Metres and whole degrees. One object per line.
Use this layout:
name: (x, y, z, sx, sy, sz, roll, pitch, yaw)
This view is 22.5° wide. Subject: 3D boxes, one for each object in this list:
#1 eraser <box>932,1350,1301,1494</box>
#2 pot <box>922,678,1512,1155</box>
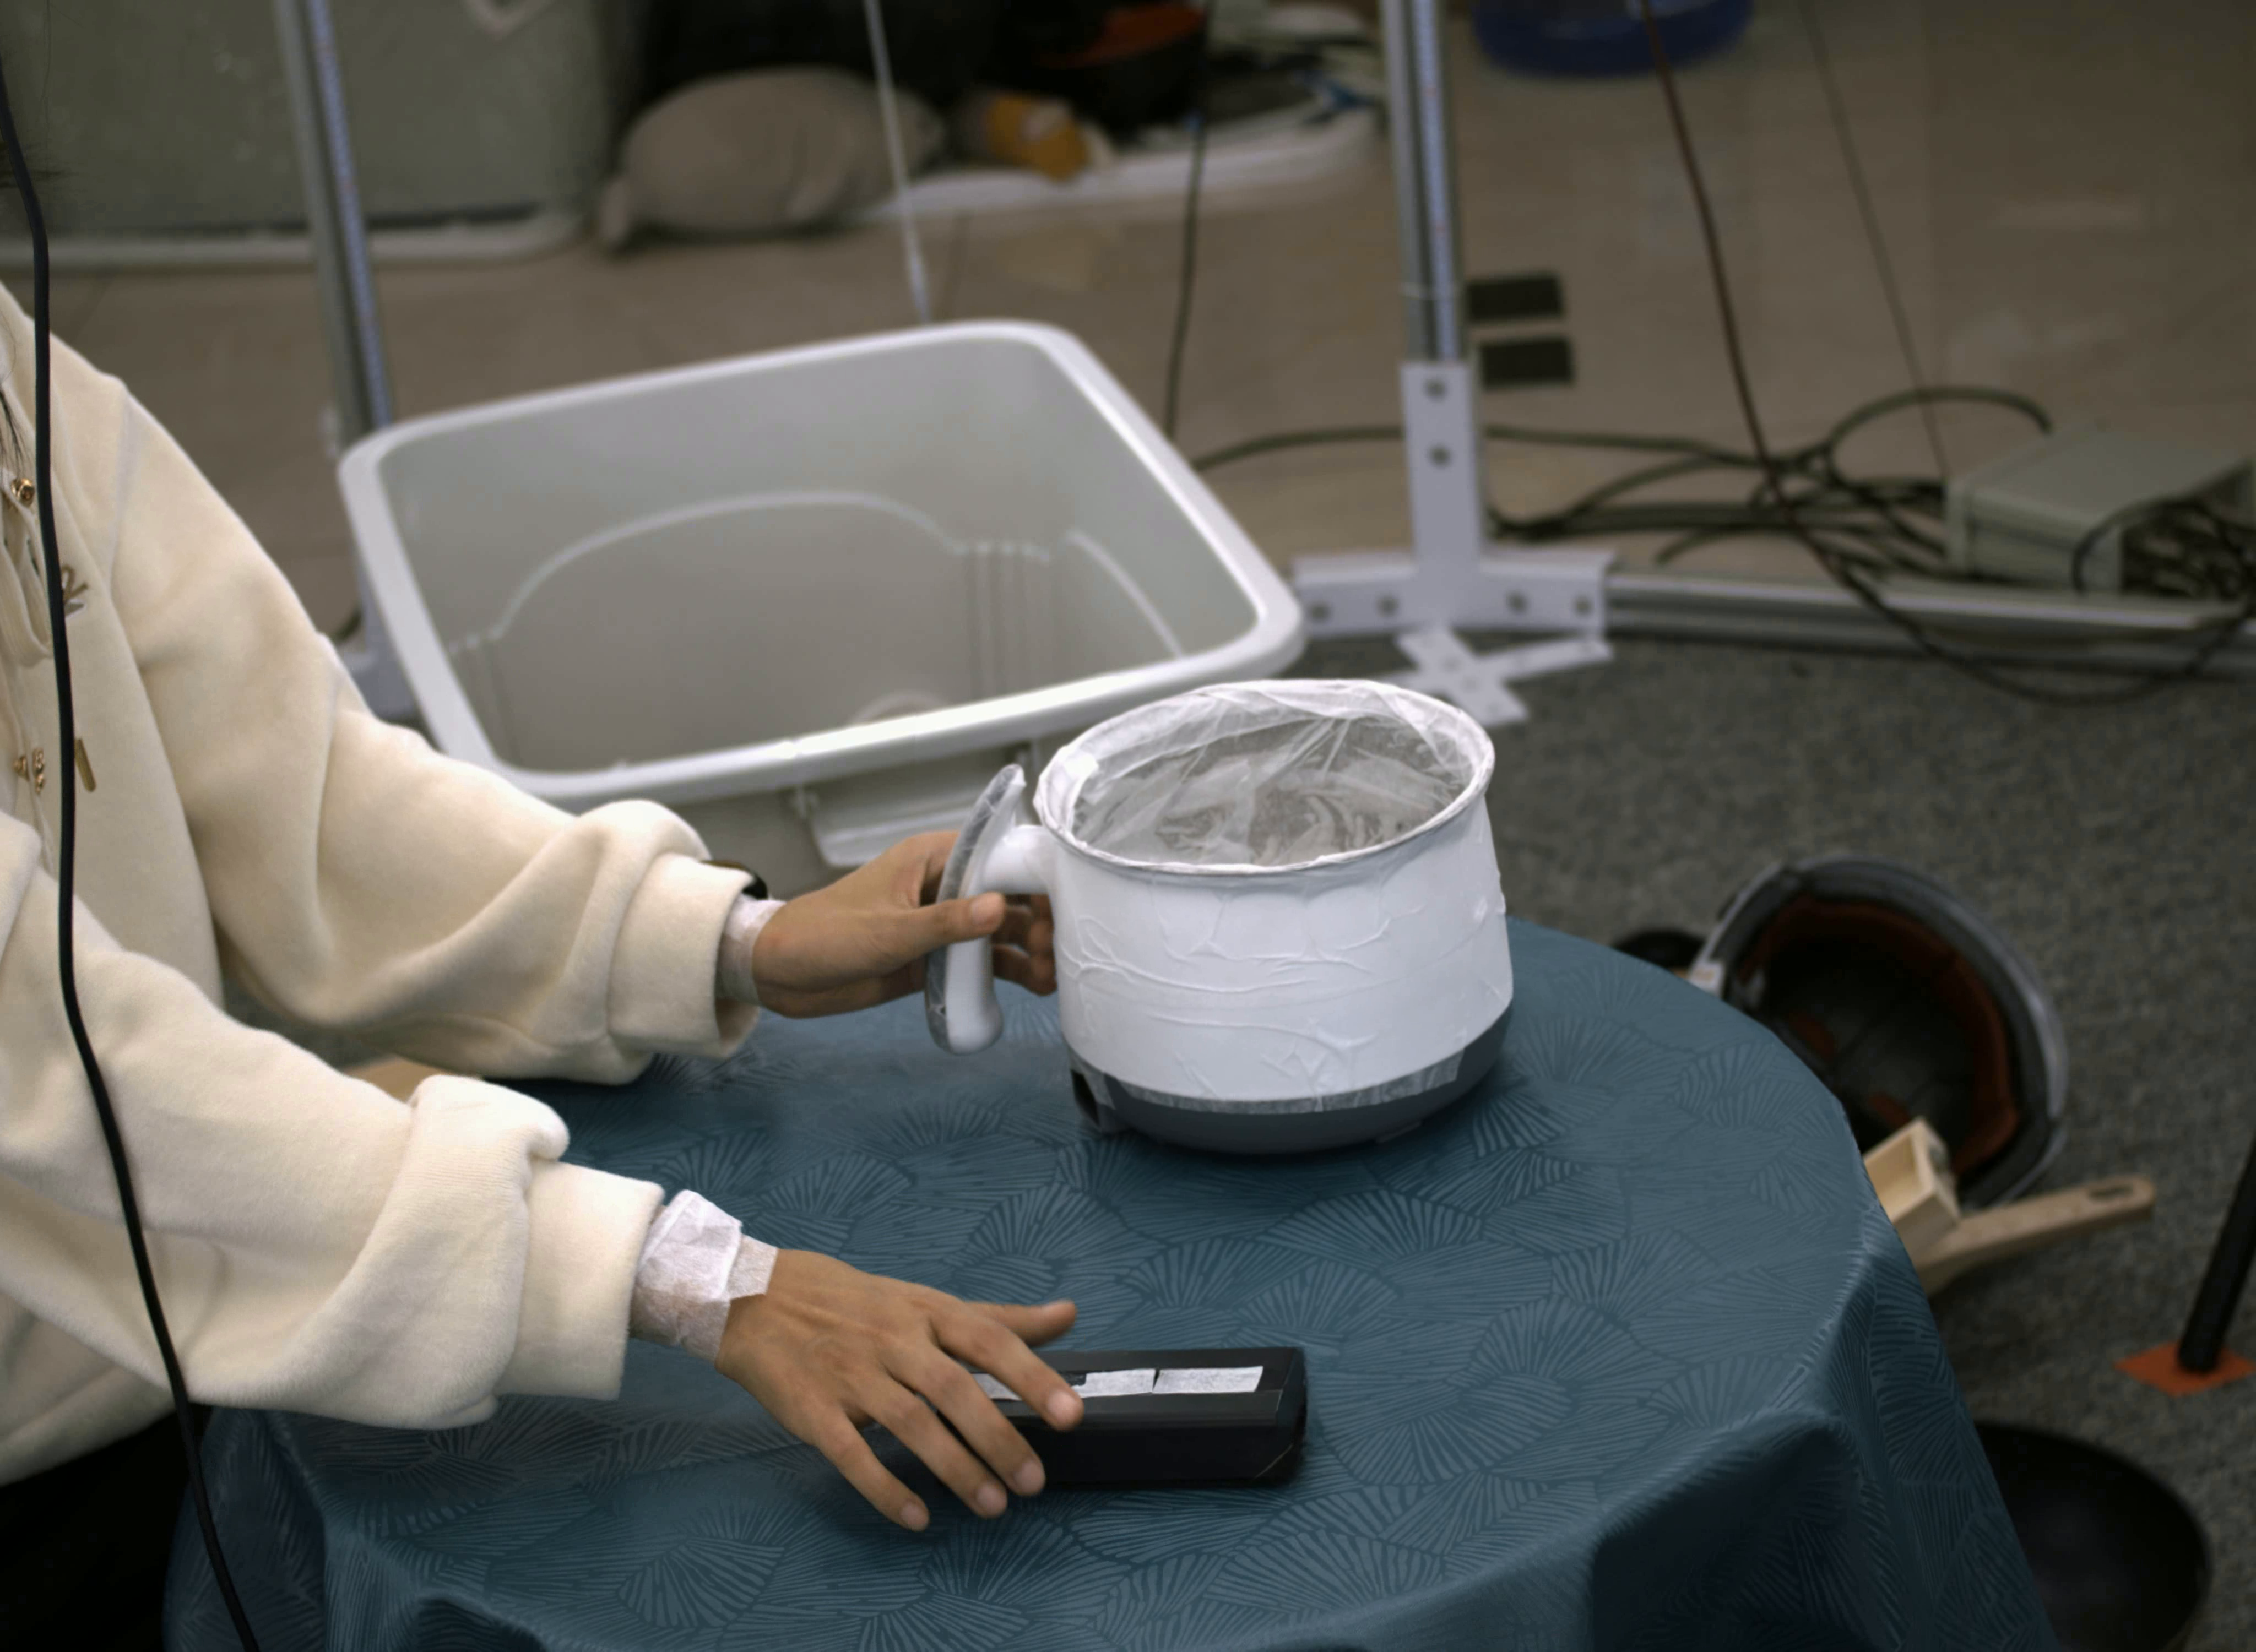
eraser: (-0.002, 0.207, 1.972, 0.125, 0.031, 0.053, -3, 25, 11)
pot: (0.031, 0.037, 2.193, 0.233, 0.139, 0.176, -1, 26, 11)
